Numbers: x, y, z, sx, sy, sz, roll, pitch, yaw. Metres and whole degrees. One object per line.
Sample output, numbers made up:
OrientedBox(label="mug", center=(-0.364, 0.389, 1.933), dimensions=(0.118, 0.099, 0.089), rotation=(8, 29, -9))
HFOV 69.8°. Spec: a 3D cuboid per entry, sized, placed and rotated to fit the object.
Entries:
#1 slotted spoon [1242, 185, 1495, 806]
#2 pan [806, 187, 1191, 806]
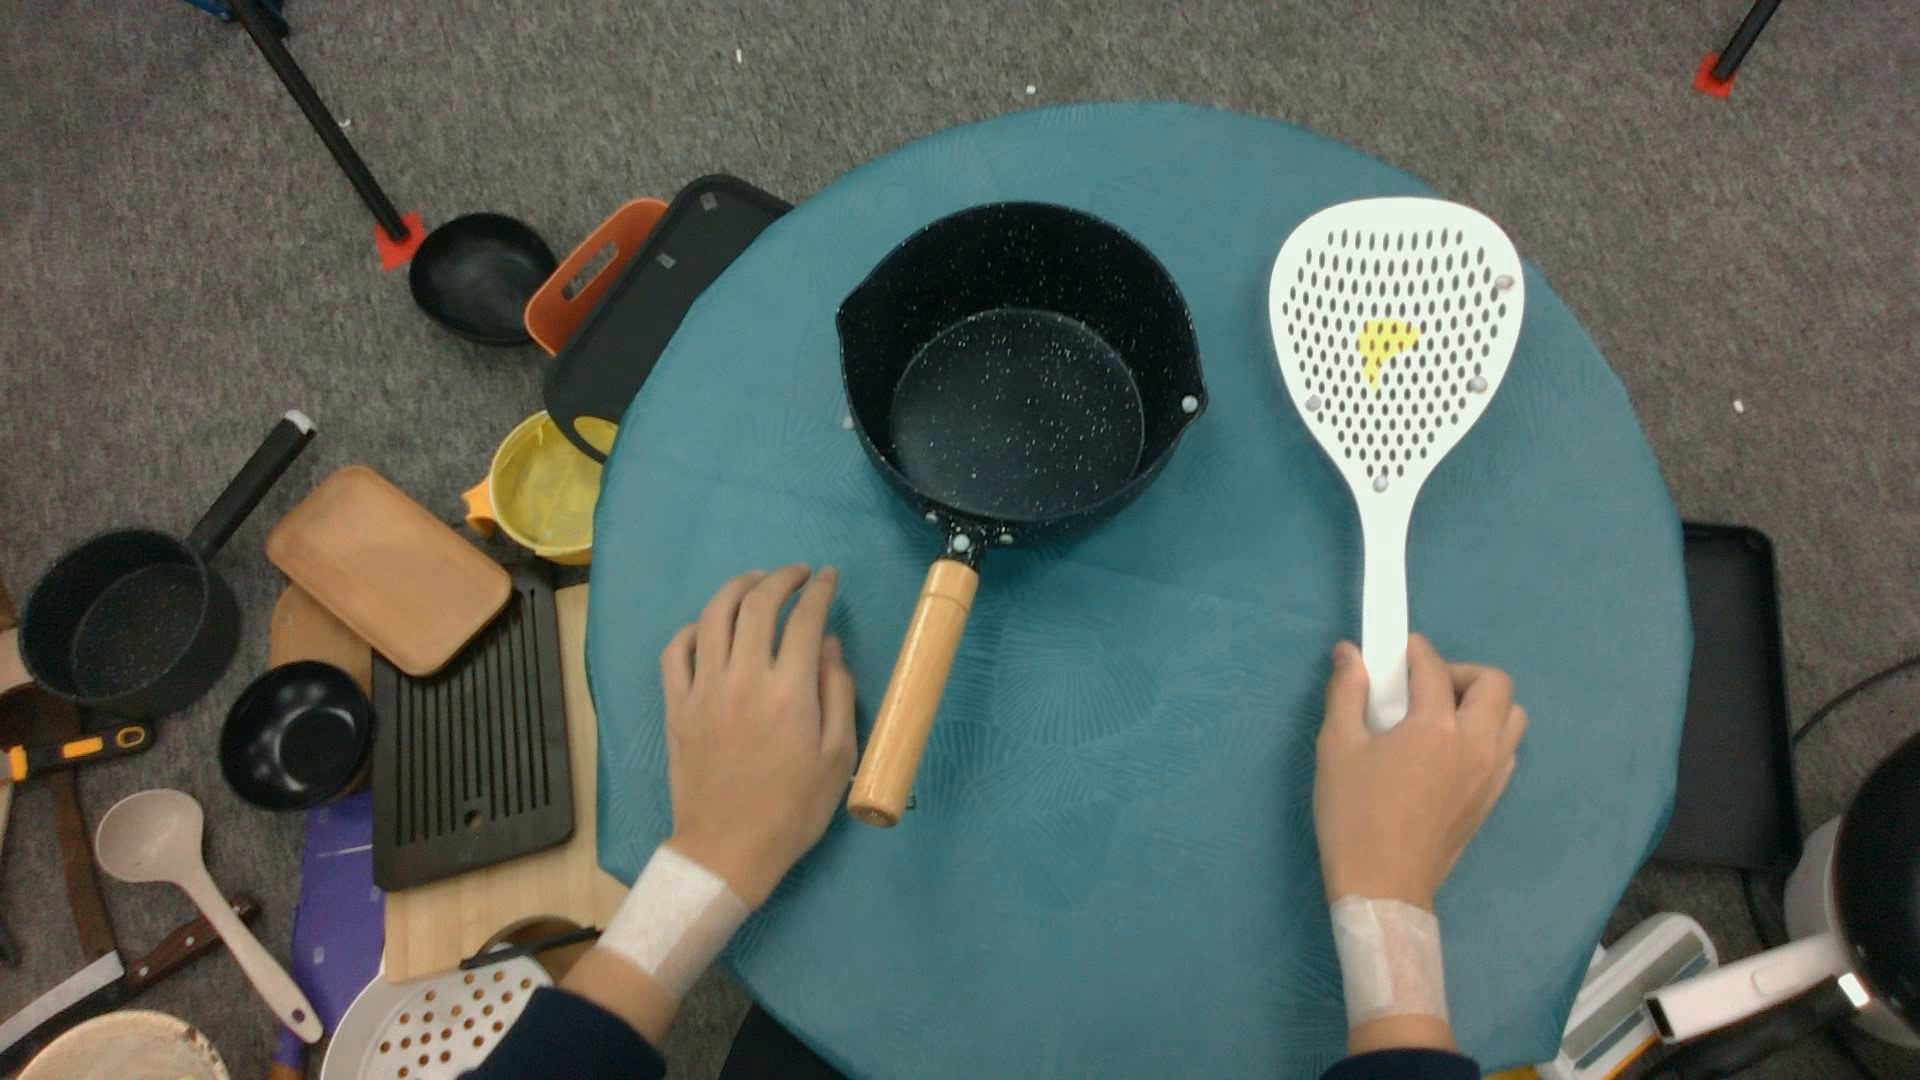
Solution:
OrientedBox(label="slotted spoon", center=(0.221, -0.034, 0.746), dimensions=(0.136, 0.050, 0.349), rotation=(1, 68, 10))
OrientedBox(label="pan", center=(0.001, -0.021, 0.709), dimensions=(0.207, 0.108, 0.344), rotation=(14, 69, 5))
